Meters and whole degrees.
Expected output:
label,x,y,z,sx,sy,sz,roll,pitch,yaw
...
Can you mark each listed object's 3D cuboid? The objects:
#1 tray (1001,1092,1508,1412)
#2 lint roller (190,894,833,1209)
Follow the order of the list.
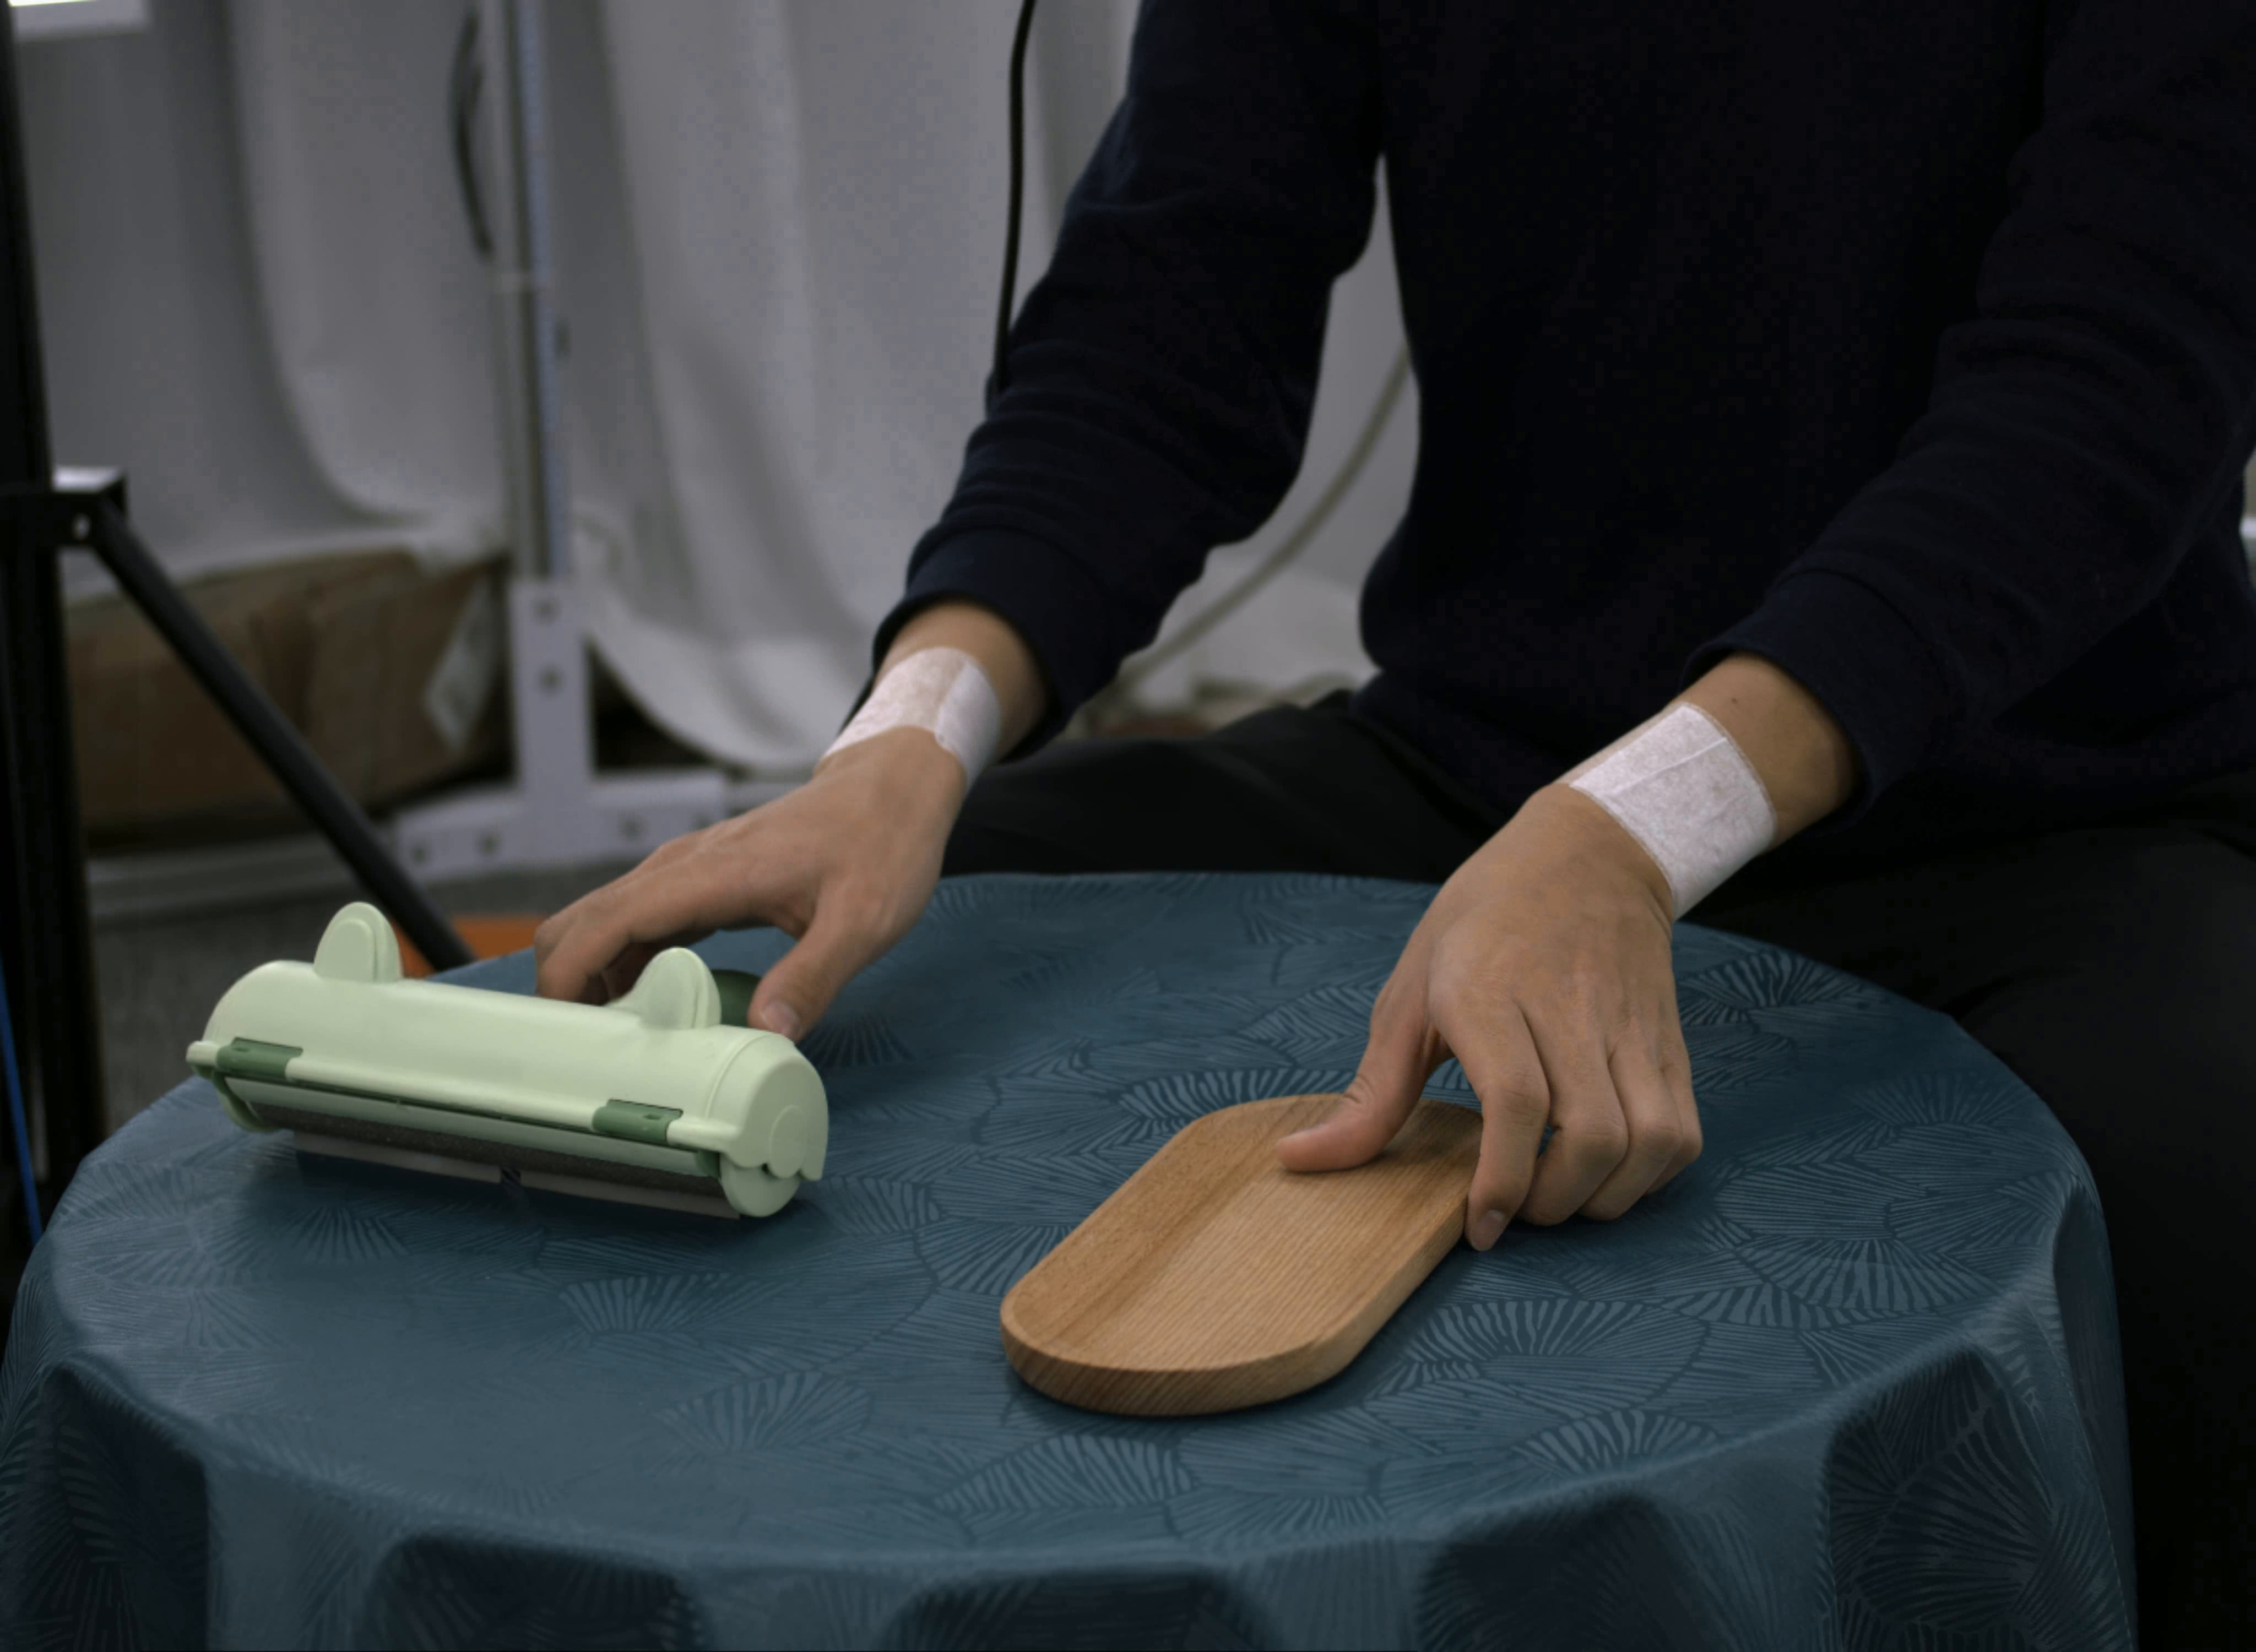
label,x,y,z,sx,sy,sz,roll,pitch,yaw
tray,0.039,0.117,1.489,0.103,0.020,0.228,4,15,20
lint roller,-0.158,0.050,1.631,0.202,0.082,0.180,7,24,29
